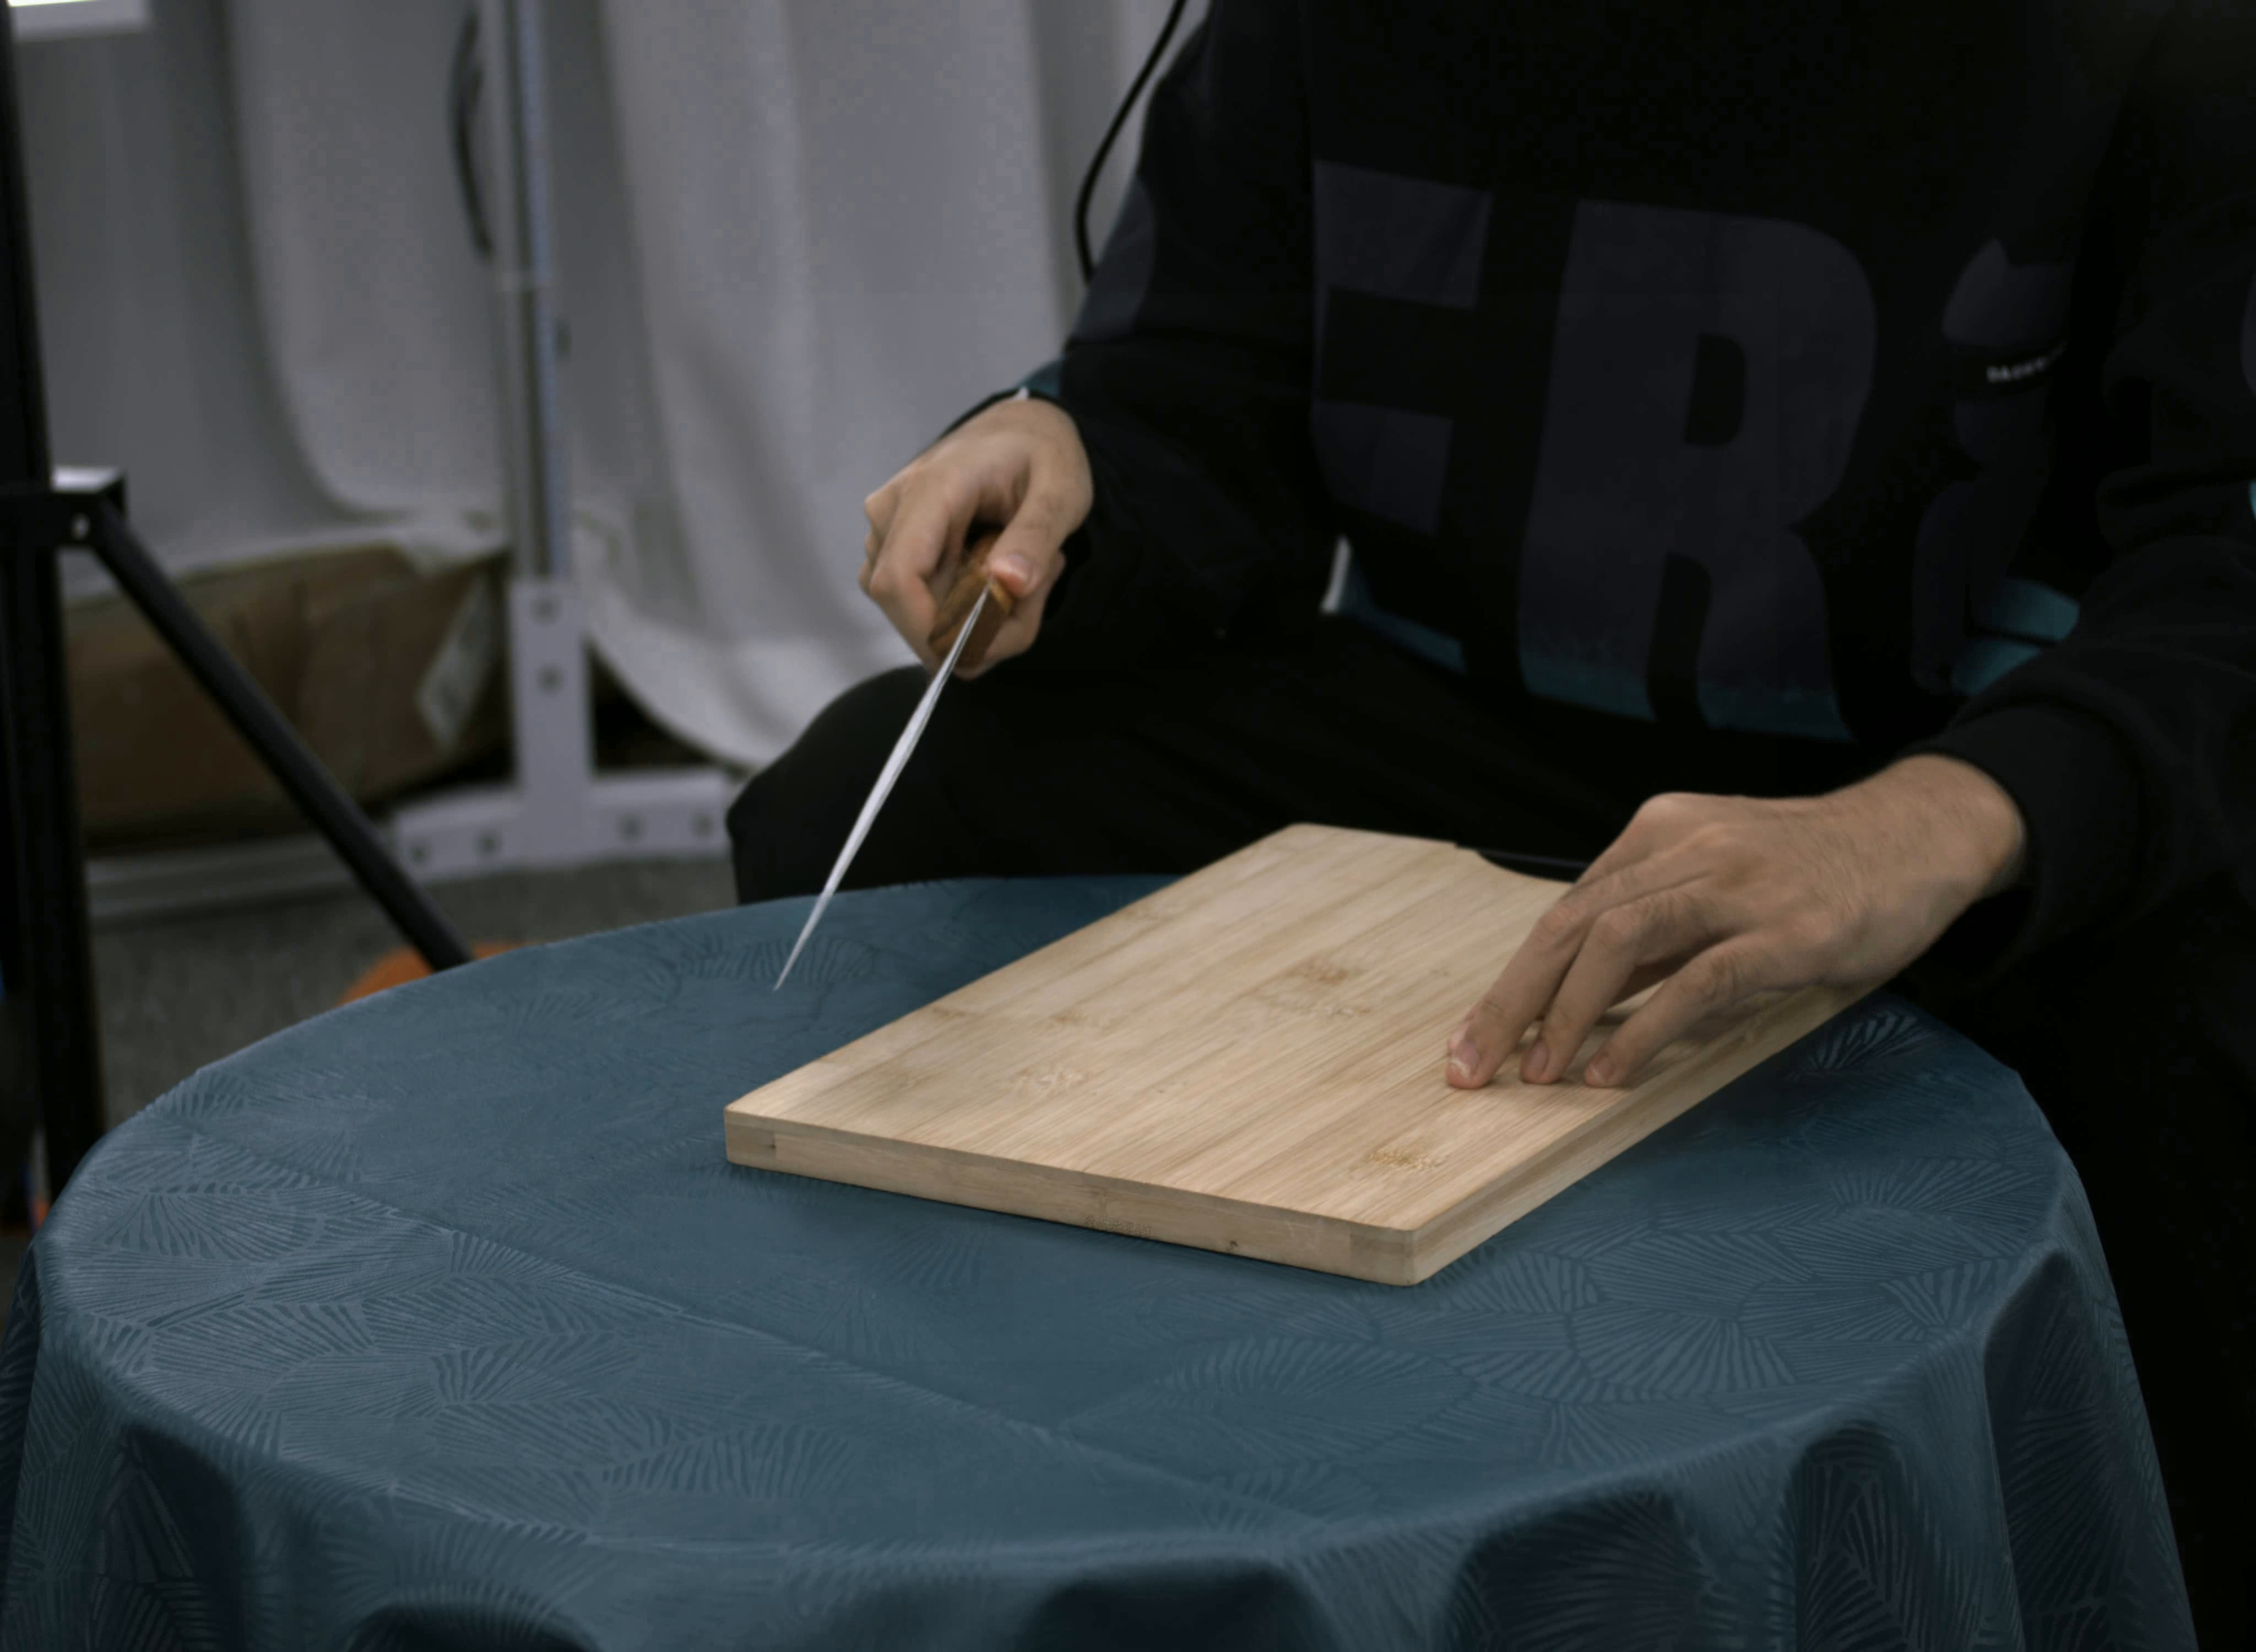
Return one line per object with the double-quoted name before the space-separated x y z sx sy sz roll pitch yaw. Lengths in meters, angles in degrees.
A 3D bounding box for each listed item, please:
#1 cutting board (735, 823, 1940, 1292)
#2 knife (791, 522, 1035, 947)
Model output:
"cutting board" 0.072 0.064 1.669 0.255 0.023 0.342 7 19 32
"knife" -0.070 -0.030 1.710 0.021 0.093 0.305 29 17 -3
